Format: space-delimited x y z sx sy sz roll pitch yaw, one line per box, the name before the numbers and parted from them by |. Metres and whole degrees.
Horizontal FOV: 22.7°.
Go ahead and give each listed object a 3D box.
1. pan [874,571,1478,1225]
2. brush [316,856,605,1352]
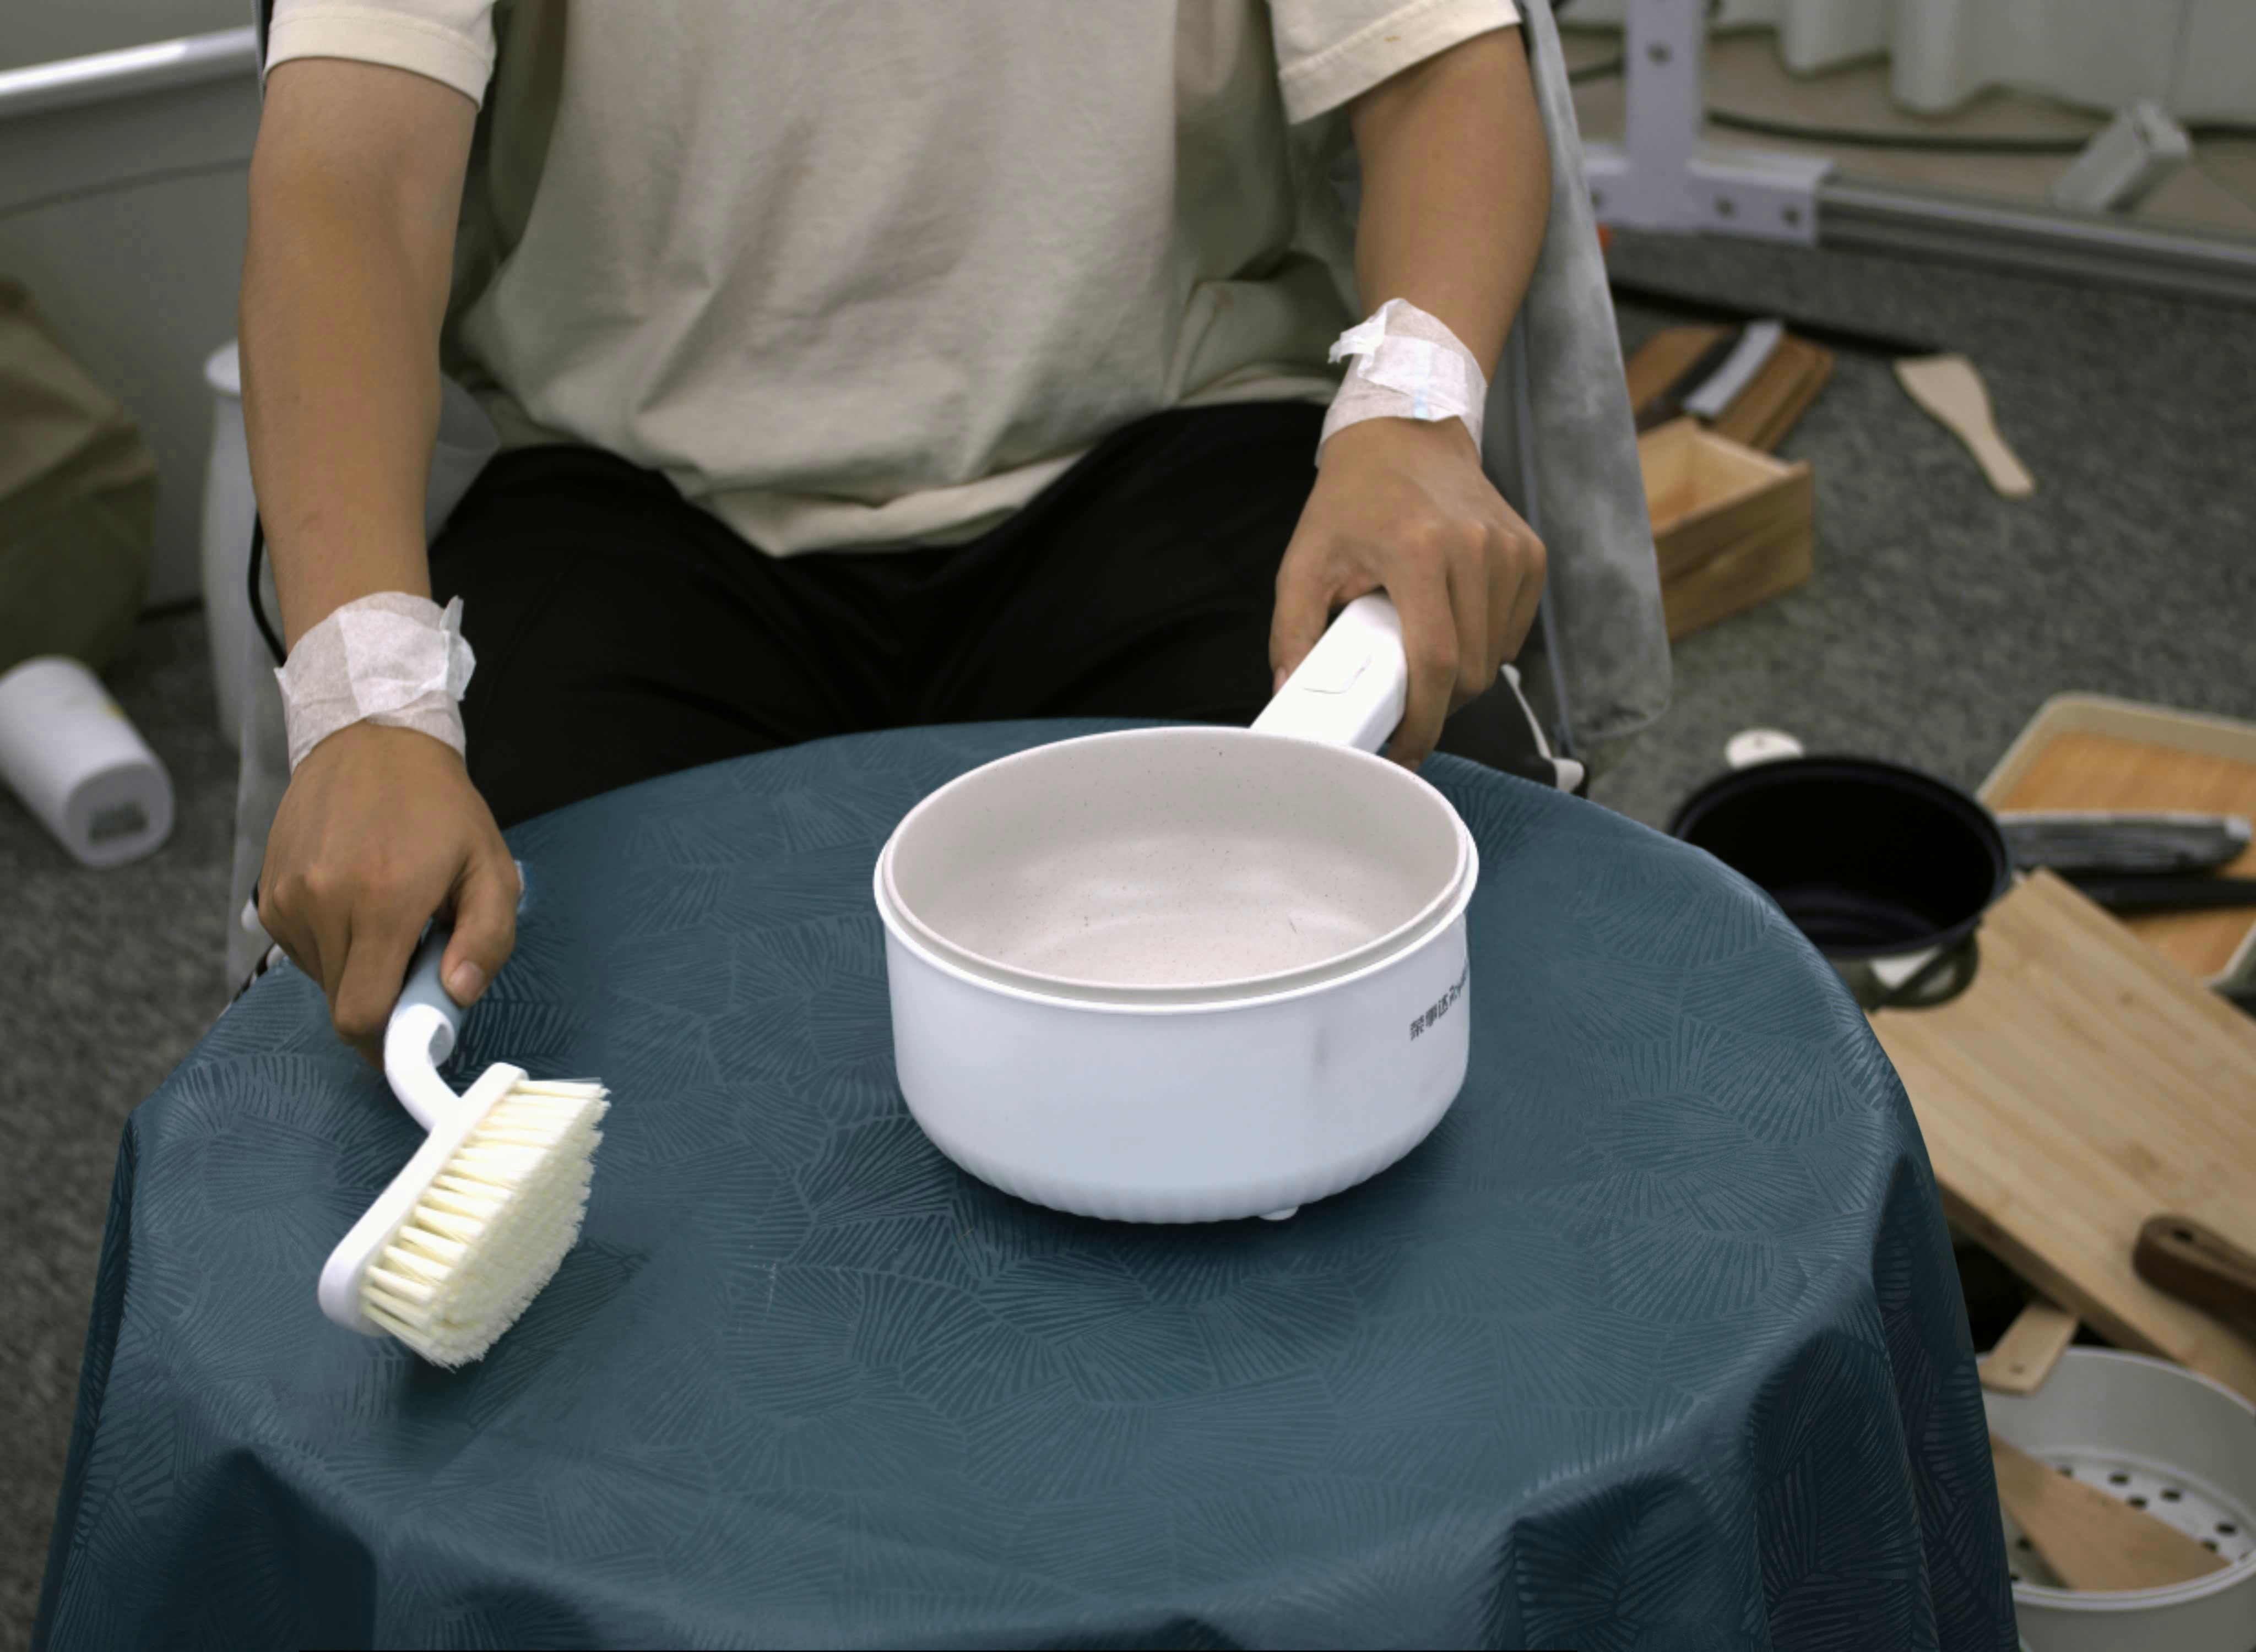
pan | 0.045 0.022 1.945 0.200 0.101 0.360 7 26 20
brush | -0.202 0.084 1.882 0.082 0.084 0.330 -37 15 16
